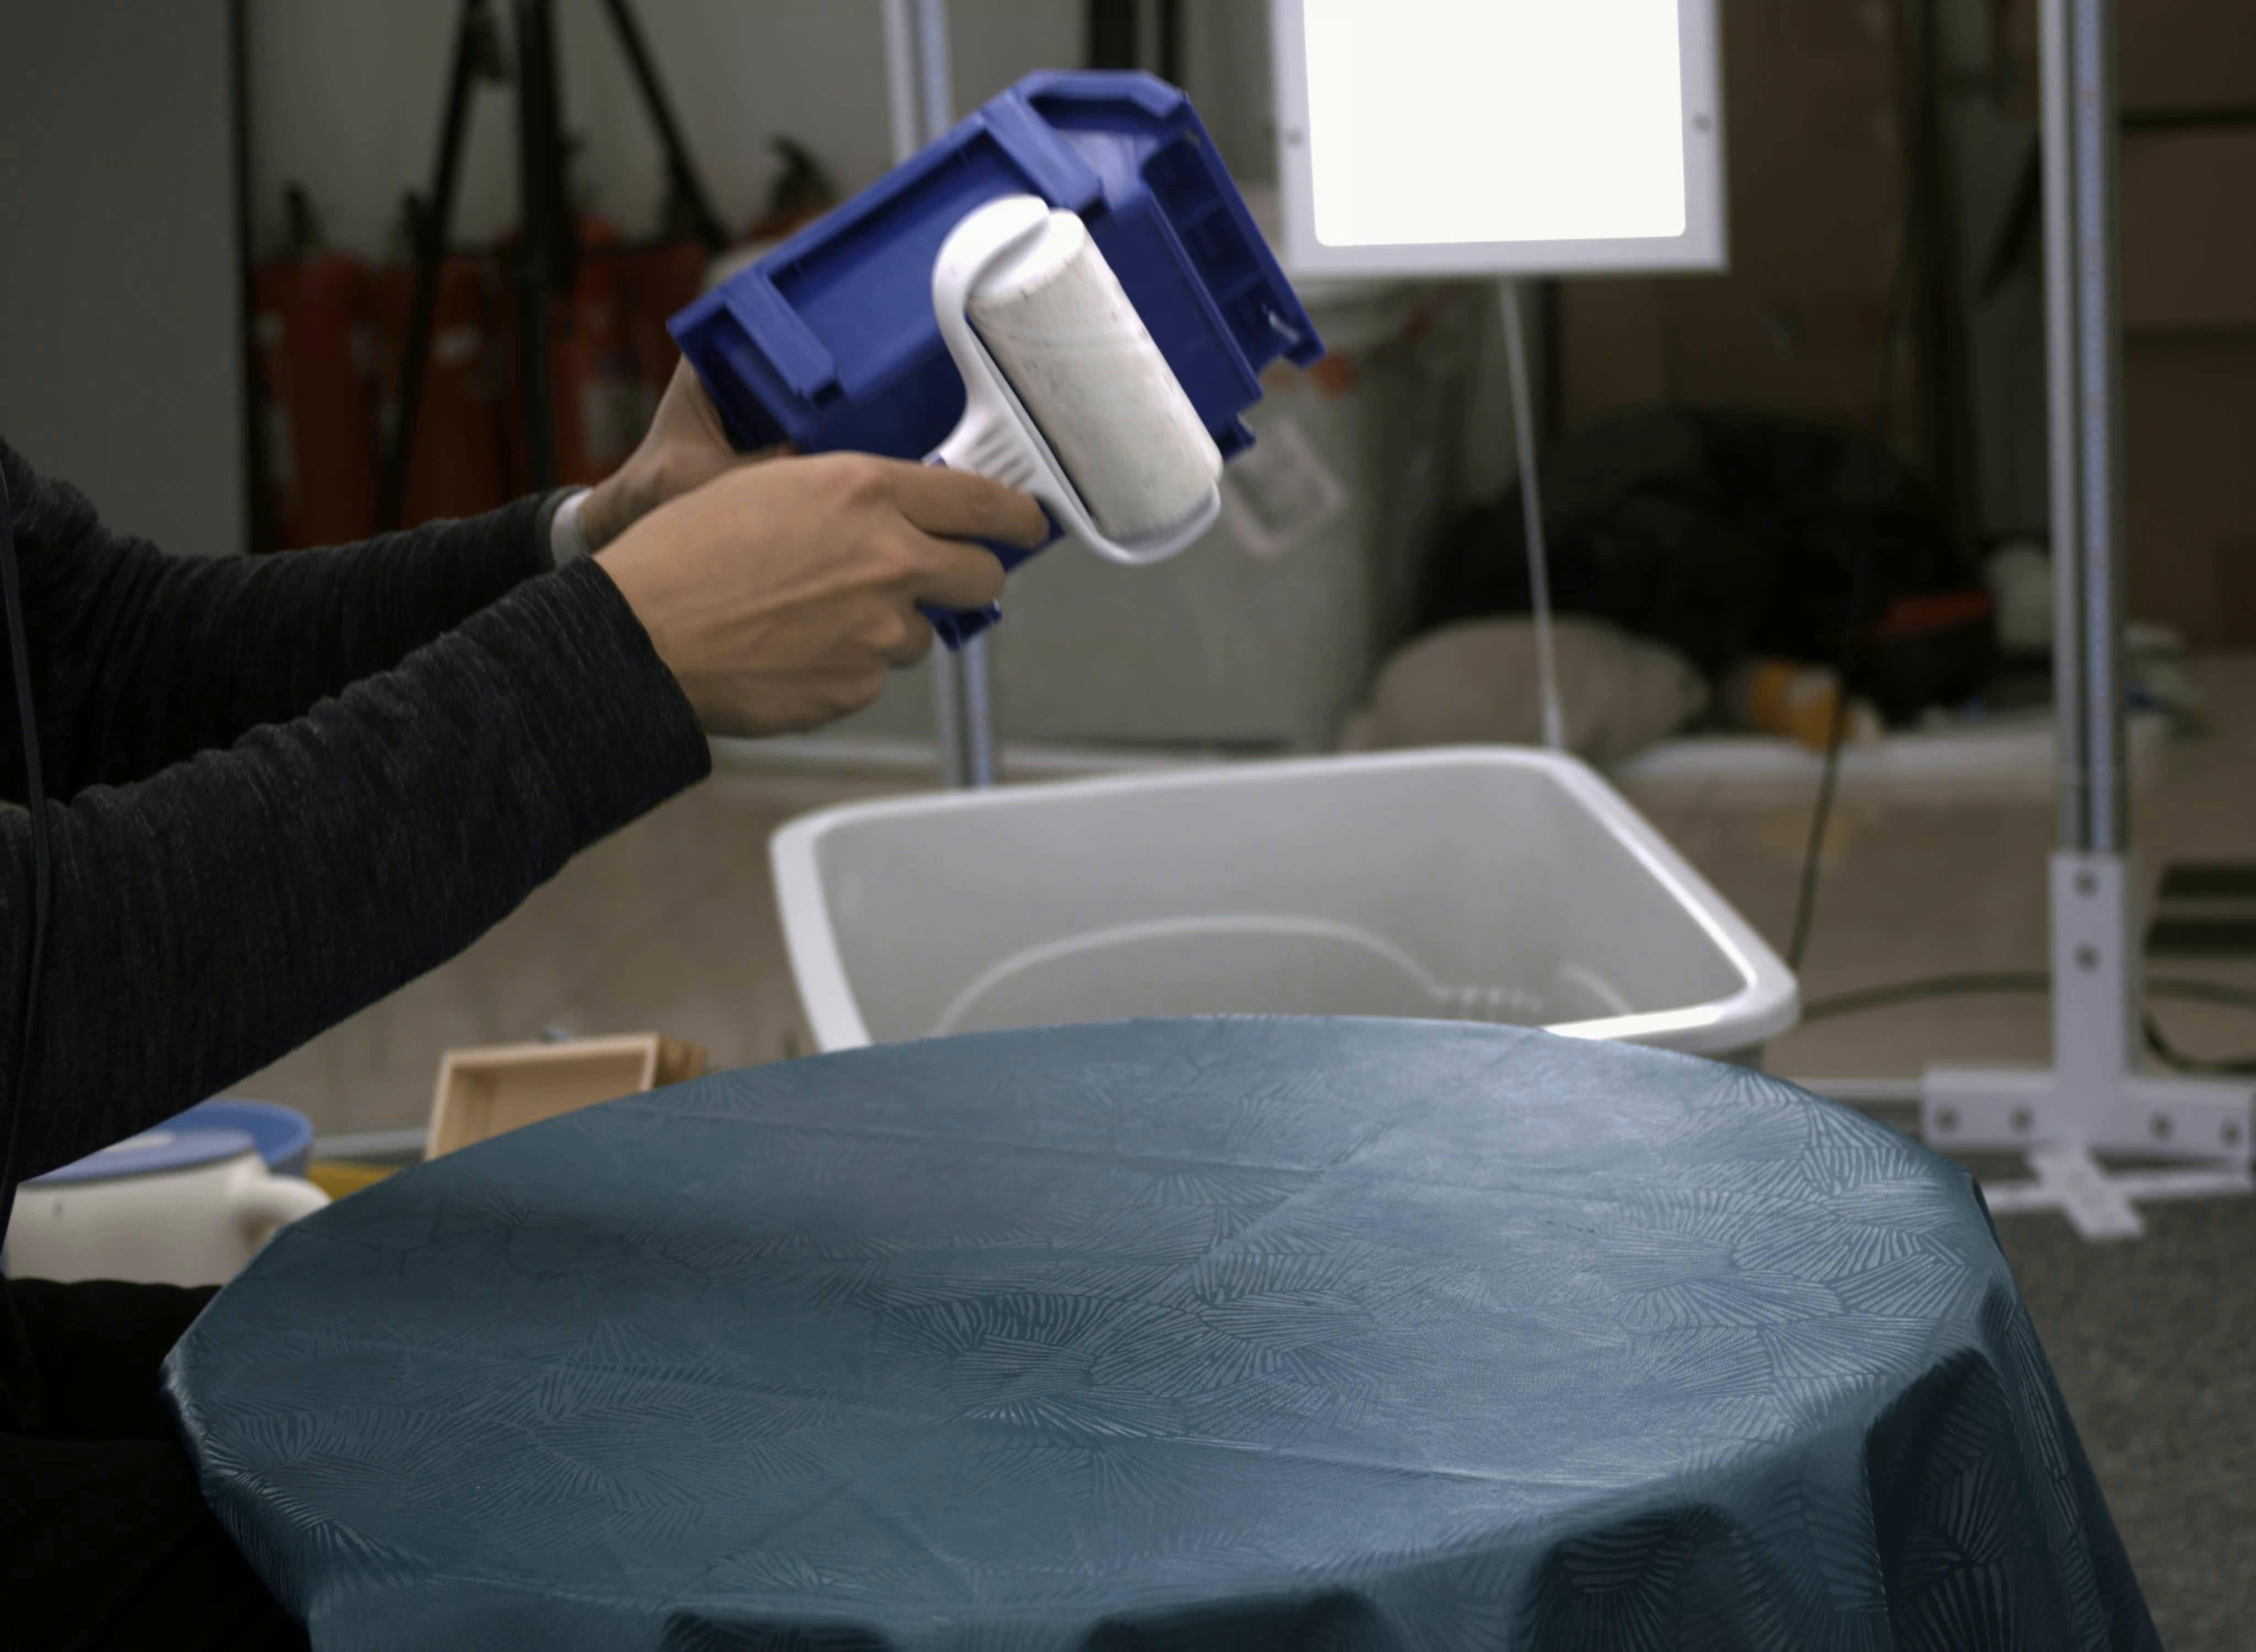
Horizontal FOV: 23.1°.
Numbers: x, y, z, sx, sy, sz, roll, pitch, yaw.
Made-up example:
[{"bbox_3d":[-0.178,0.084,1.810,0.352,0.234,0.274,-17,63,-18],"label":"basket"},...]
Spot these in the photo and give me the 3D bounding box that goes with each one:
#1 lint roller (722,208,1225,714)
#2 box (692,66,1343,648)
[{"bbox_3d":[-0.056,-0.098,1.740,0.178,0.132,0.051,-44,33,-19],"label":"lint roller"},{"bbox_3d":[-0.031,-0.158,1.828,0.179,0.123,0.083,-37,40,-2],"label":"box"}]
